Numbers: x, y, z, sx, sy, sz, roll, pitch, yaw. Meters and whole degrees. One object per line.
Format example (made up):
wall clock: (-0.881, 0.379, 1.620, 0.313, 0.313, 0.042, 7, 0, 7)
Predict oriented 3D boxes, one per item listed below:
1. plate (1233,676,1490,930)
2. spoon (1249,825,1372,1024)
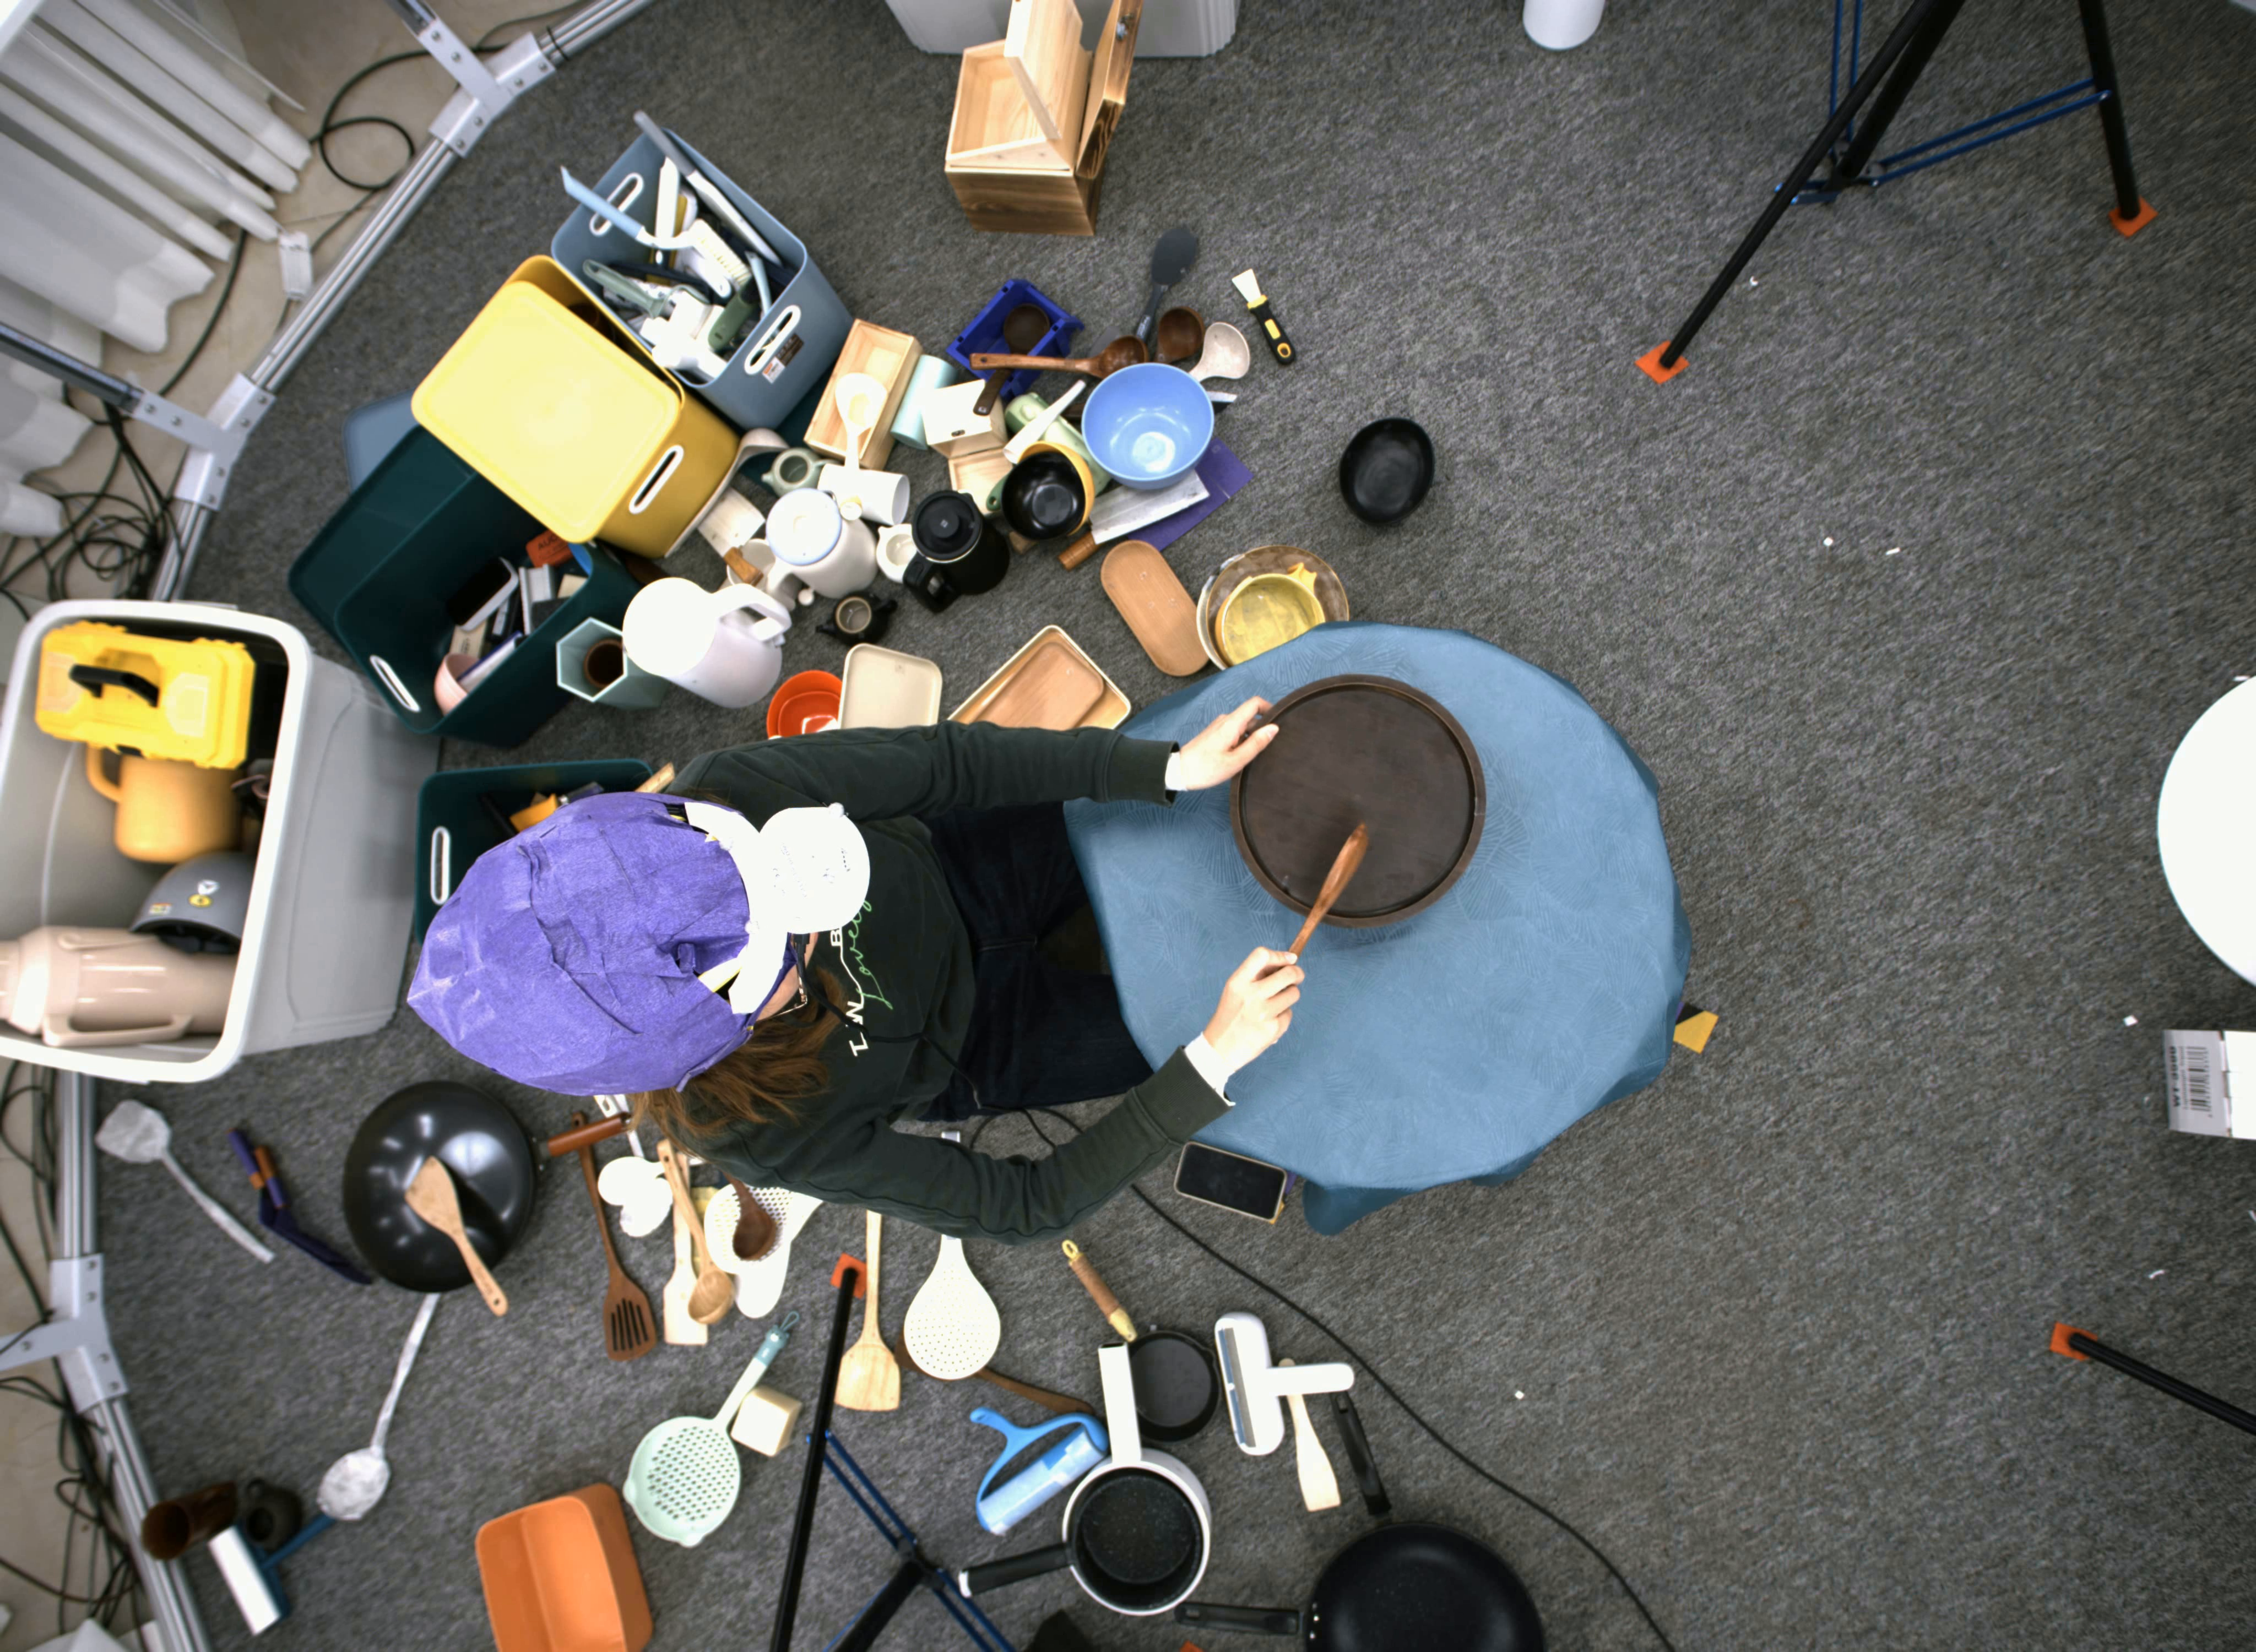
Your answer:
plate: (0.231, -0.024, 1.376, 0.256, 0.029, 0.255, 0, 93, 9)
spoon: (0.177, 0.093, 1.312, 0.017, 0.076, 0.215, 32, 89, 15)
